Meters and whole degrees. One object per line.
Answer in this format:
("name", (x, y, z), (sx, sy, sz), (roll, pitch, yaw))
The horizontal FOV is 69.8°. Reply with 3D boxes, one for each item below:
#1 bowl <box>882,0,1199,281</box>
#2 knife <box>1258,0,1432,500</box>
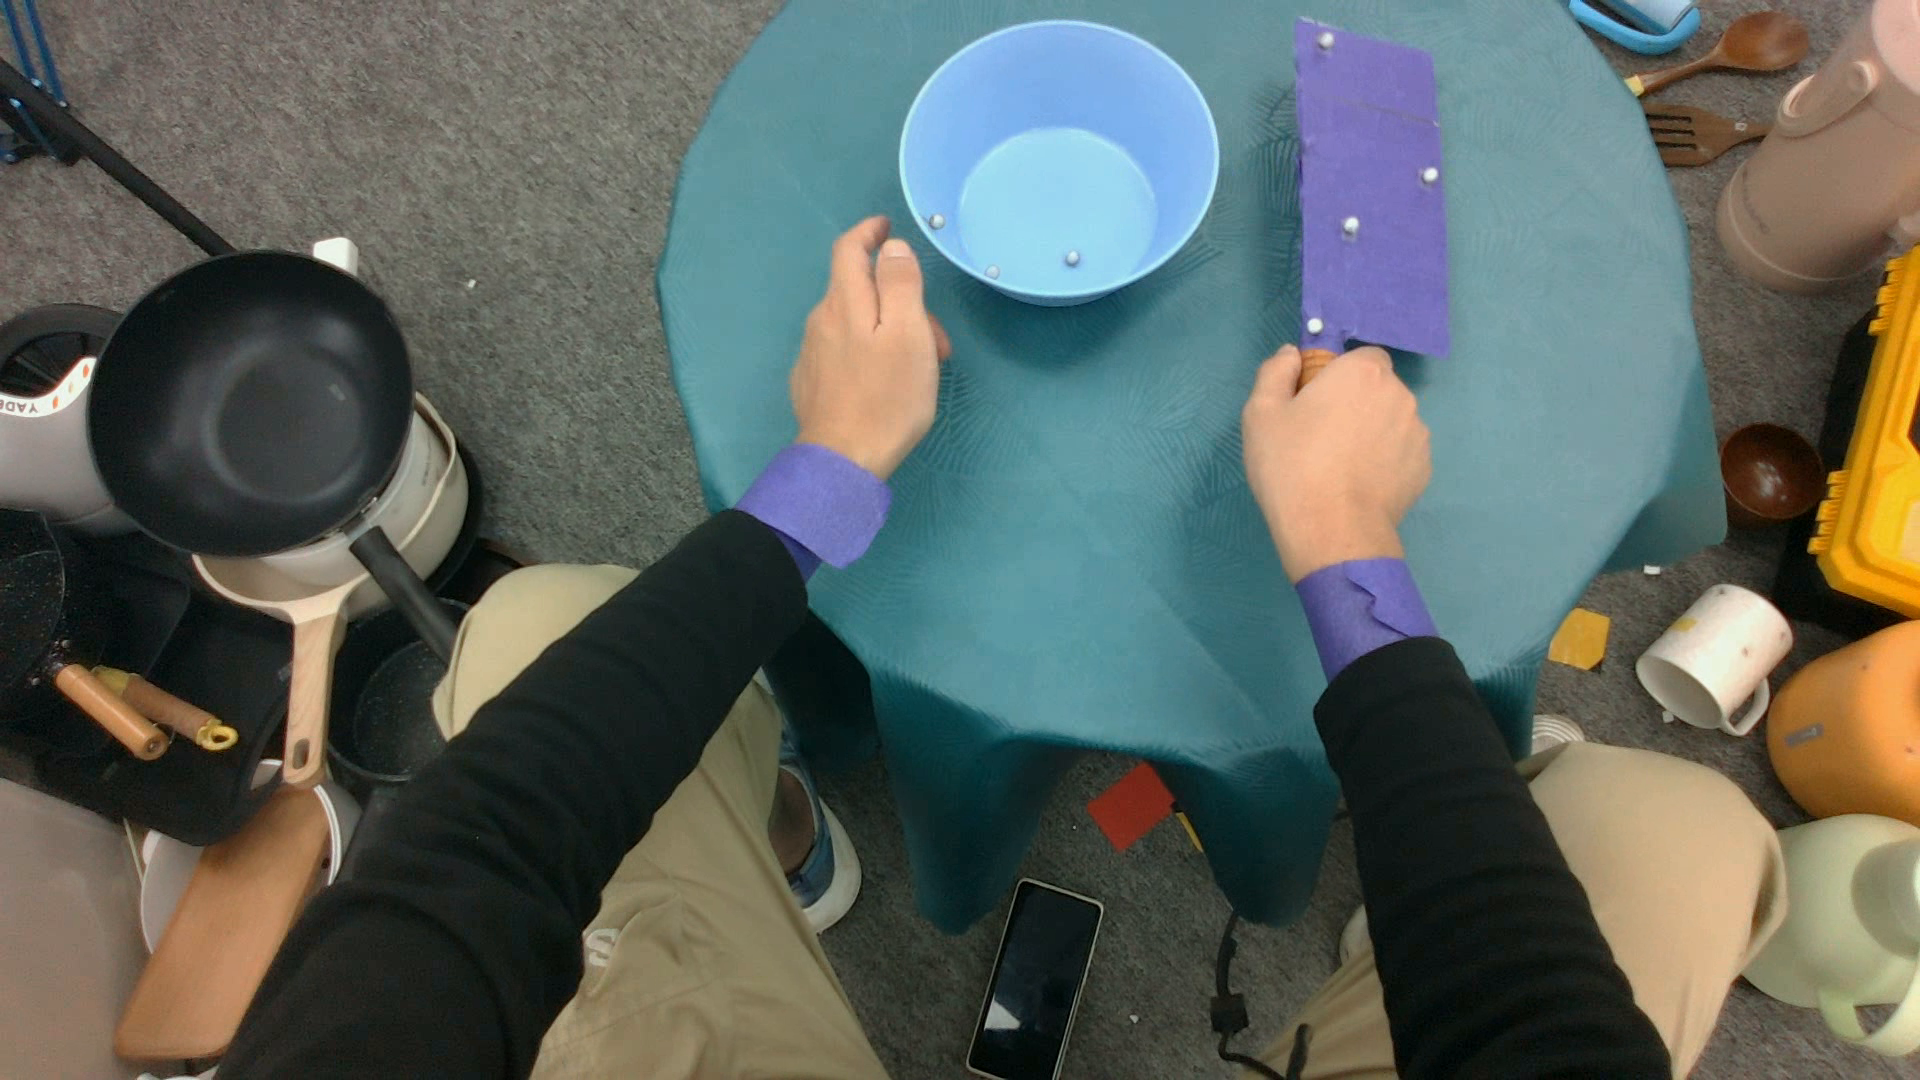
("bowl", (0.046, -0.216, 0.791), (0.176, 0.070, 0.176), (-1, 72, 3))
("knife", (0.216, -0.168, 0.763), (0.104, 0.032, 0.316), (9, 70, -13))
